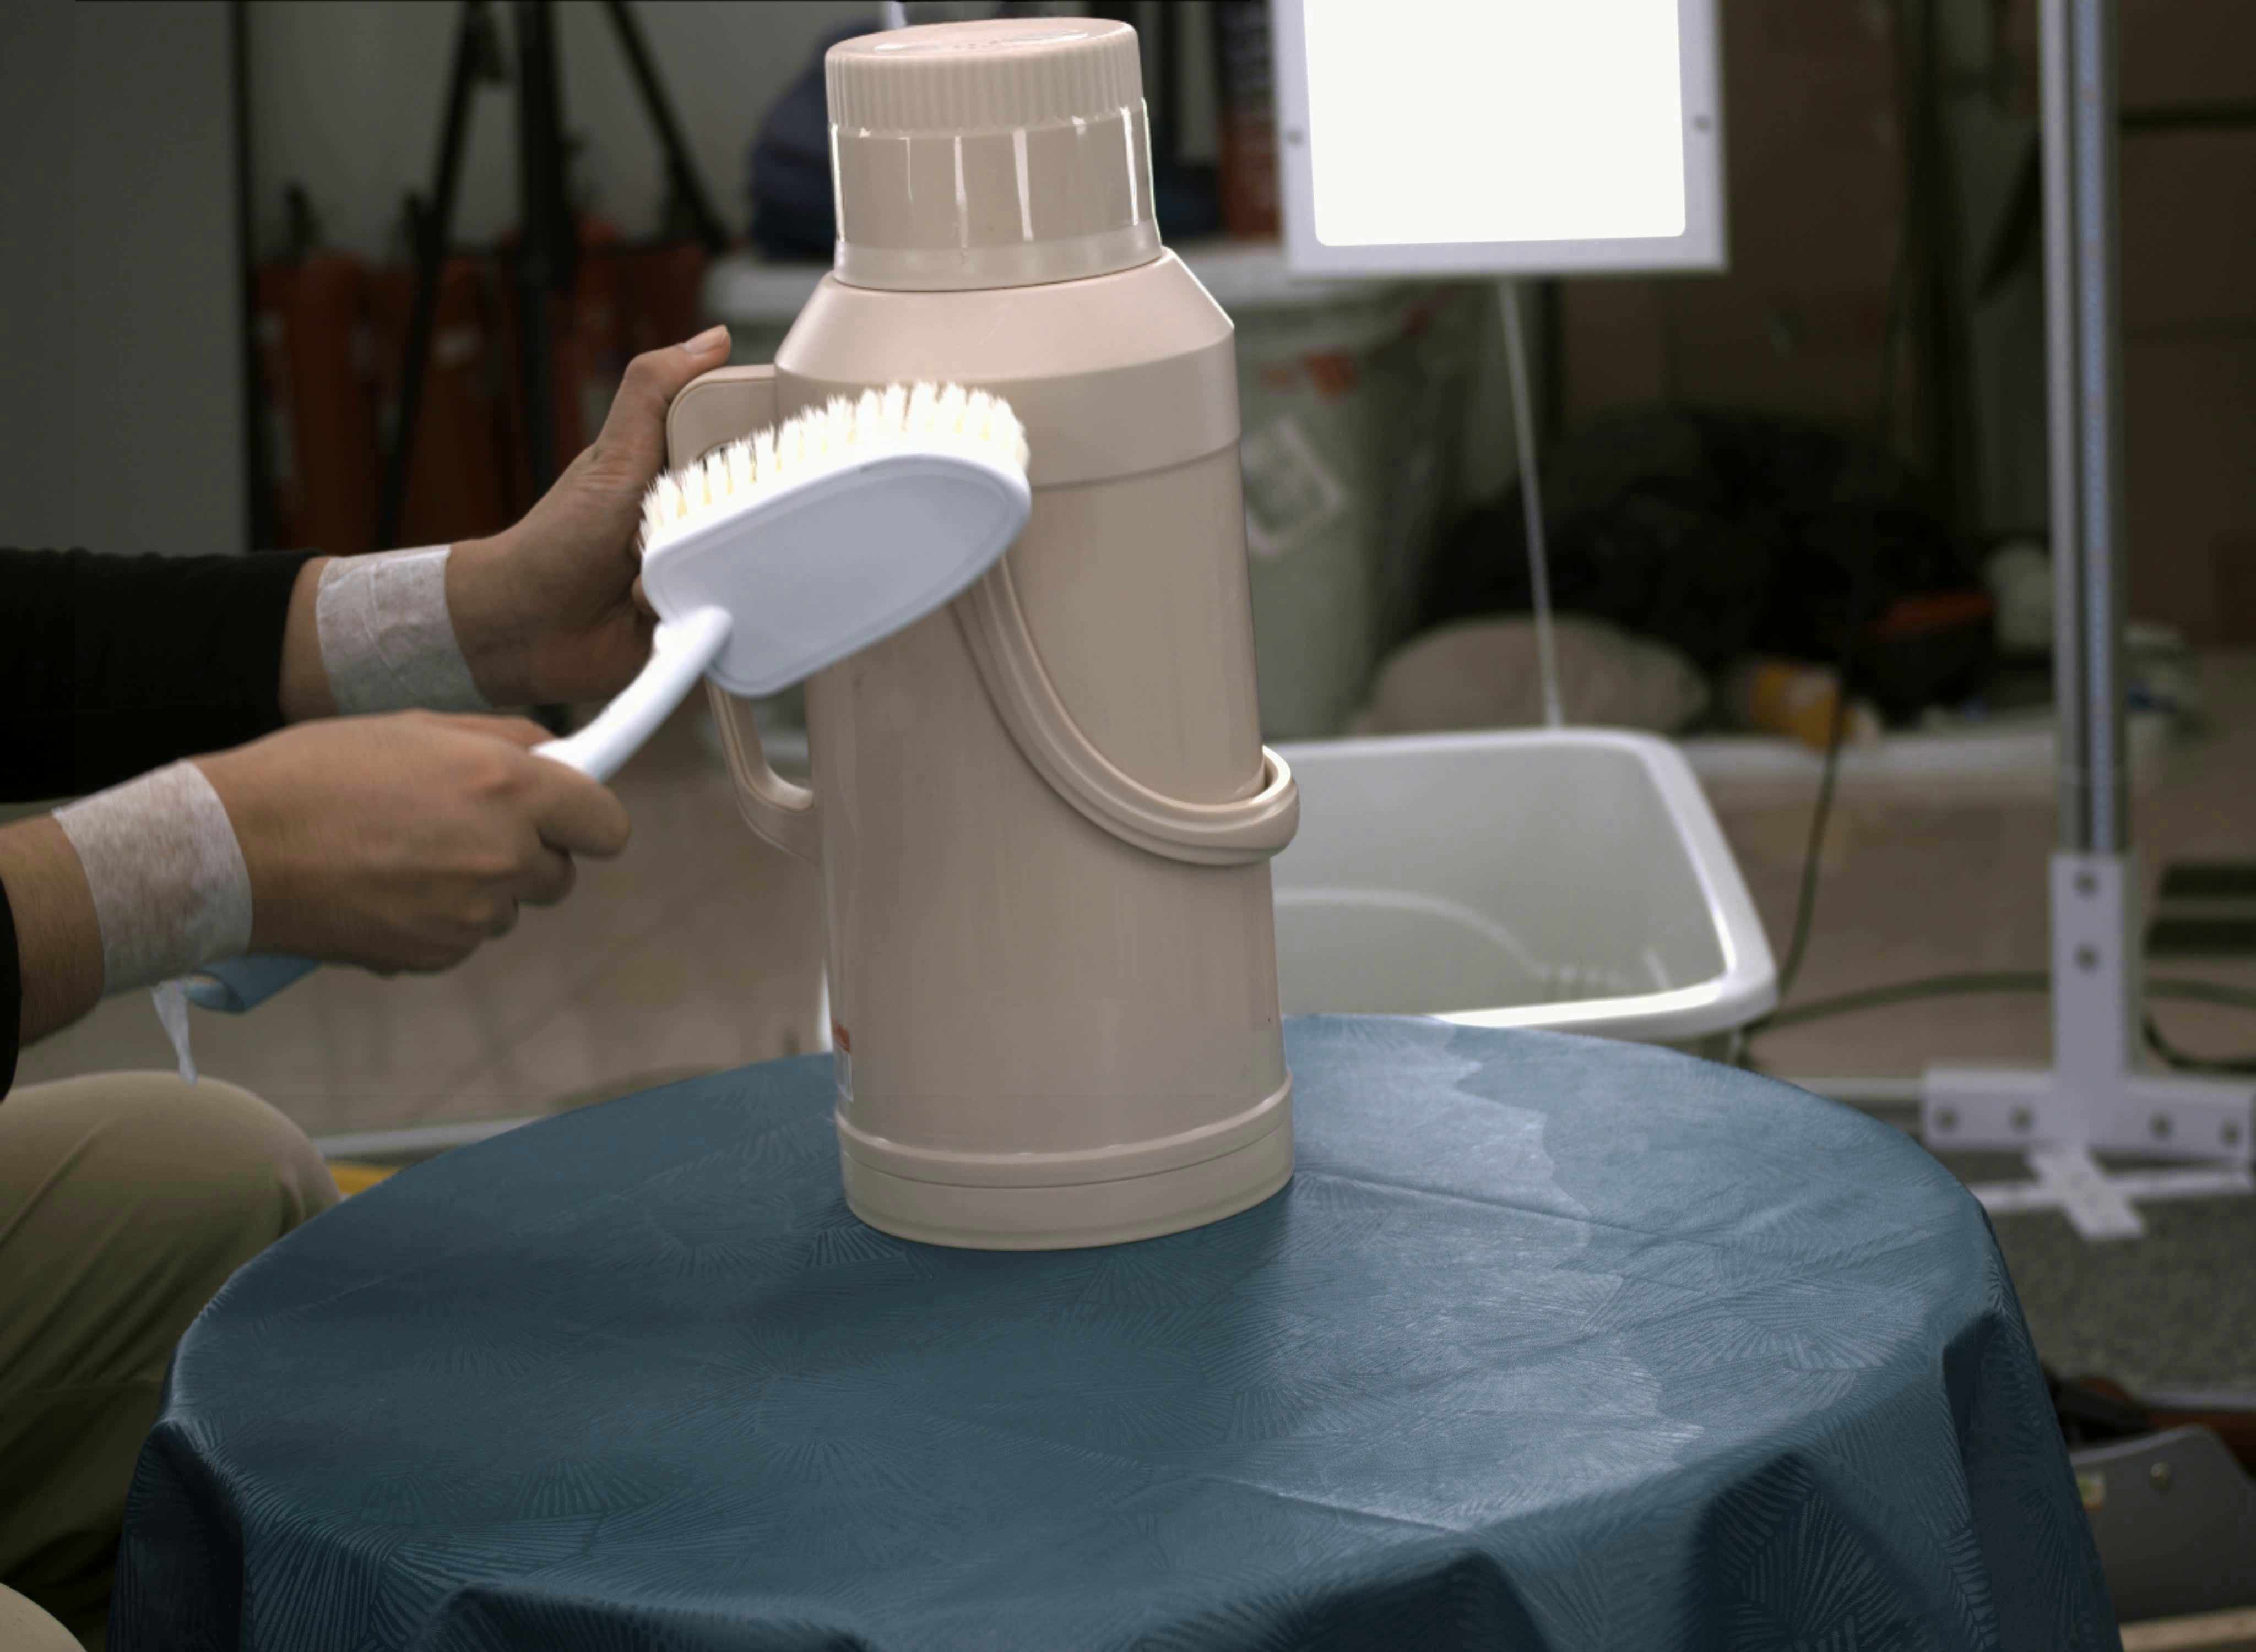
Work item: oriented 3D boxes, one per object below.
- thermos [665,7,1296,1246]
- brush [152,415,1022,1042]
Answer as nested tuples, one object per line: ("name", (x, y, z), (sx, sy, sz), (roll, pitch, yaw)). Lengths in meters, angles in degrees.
("thermos", (-0.049, -0.069, 1.878), (0.208, 0.408, 0.173), (-1, 16, 11))
("brush", (-0.177, -0.039, 1.759), (0.327, 0.083, 0.084), (-31, -6, 9))
